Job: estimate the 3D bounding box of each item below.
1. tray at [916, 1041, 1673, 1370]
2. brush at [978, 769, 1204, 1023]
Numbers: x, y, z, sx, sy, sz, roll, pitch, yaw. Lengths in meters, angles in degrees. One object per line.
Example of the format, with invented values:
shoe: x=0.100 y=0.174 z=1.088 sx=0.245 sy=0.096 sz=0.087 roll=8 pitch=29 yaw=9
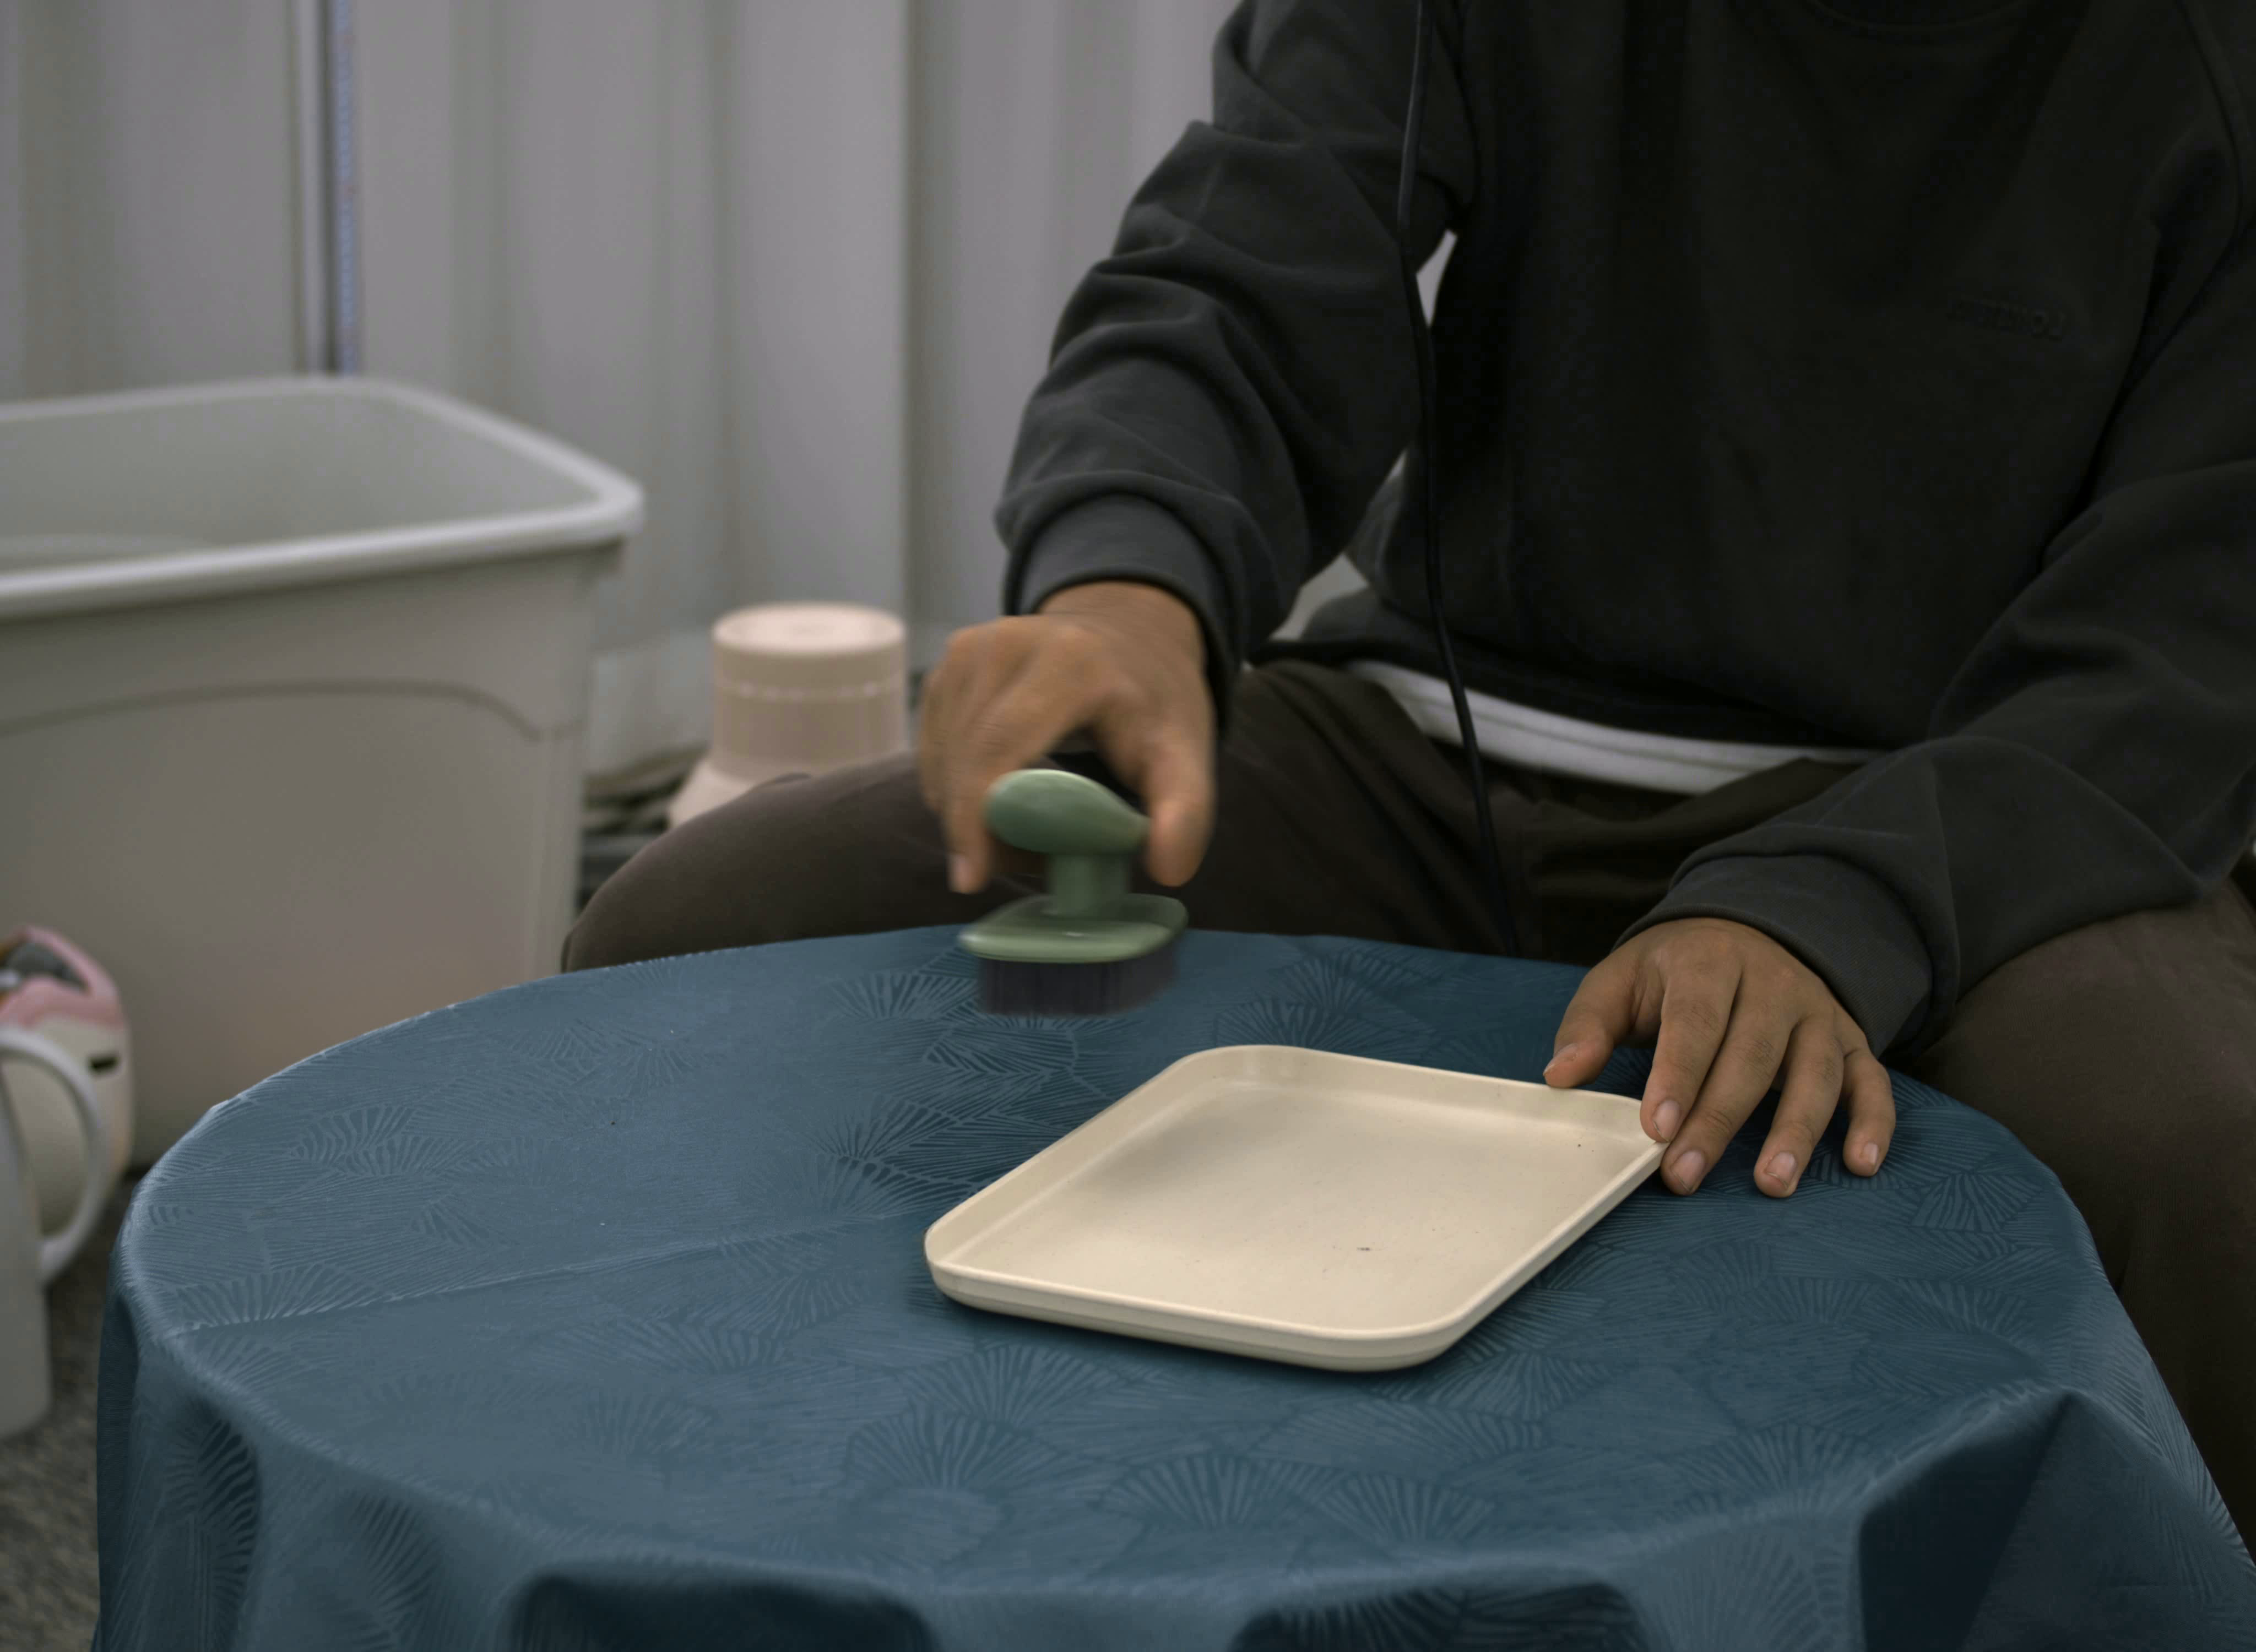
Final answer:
tray: x=0.054 y=0.113 z=1.592 sx=0.169 sy=0.017 sz=0.240 roll=8 pitch=17 yaw=24
brush: x=-0.011 y=0.027 z=1.633 sx=0.059 sy=0.076 sz=0.123 roll=3 pitch=-6 yaw=11
